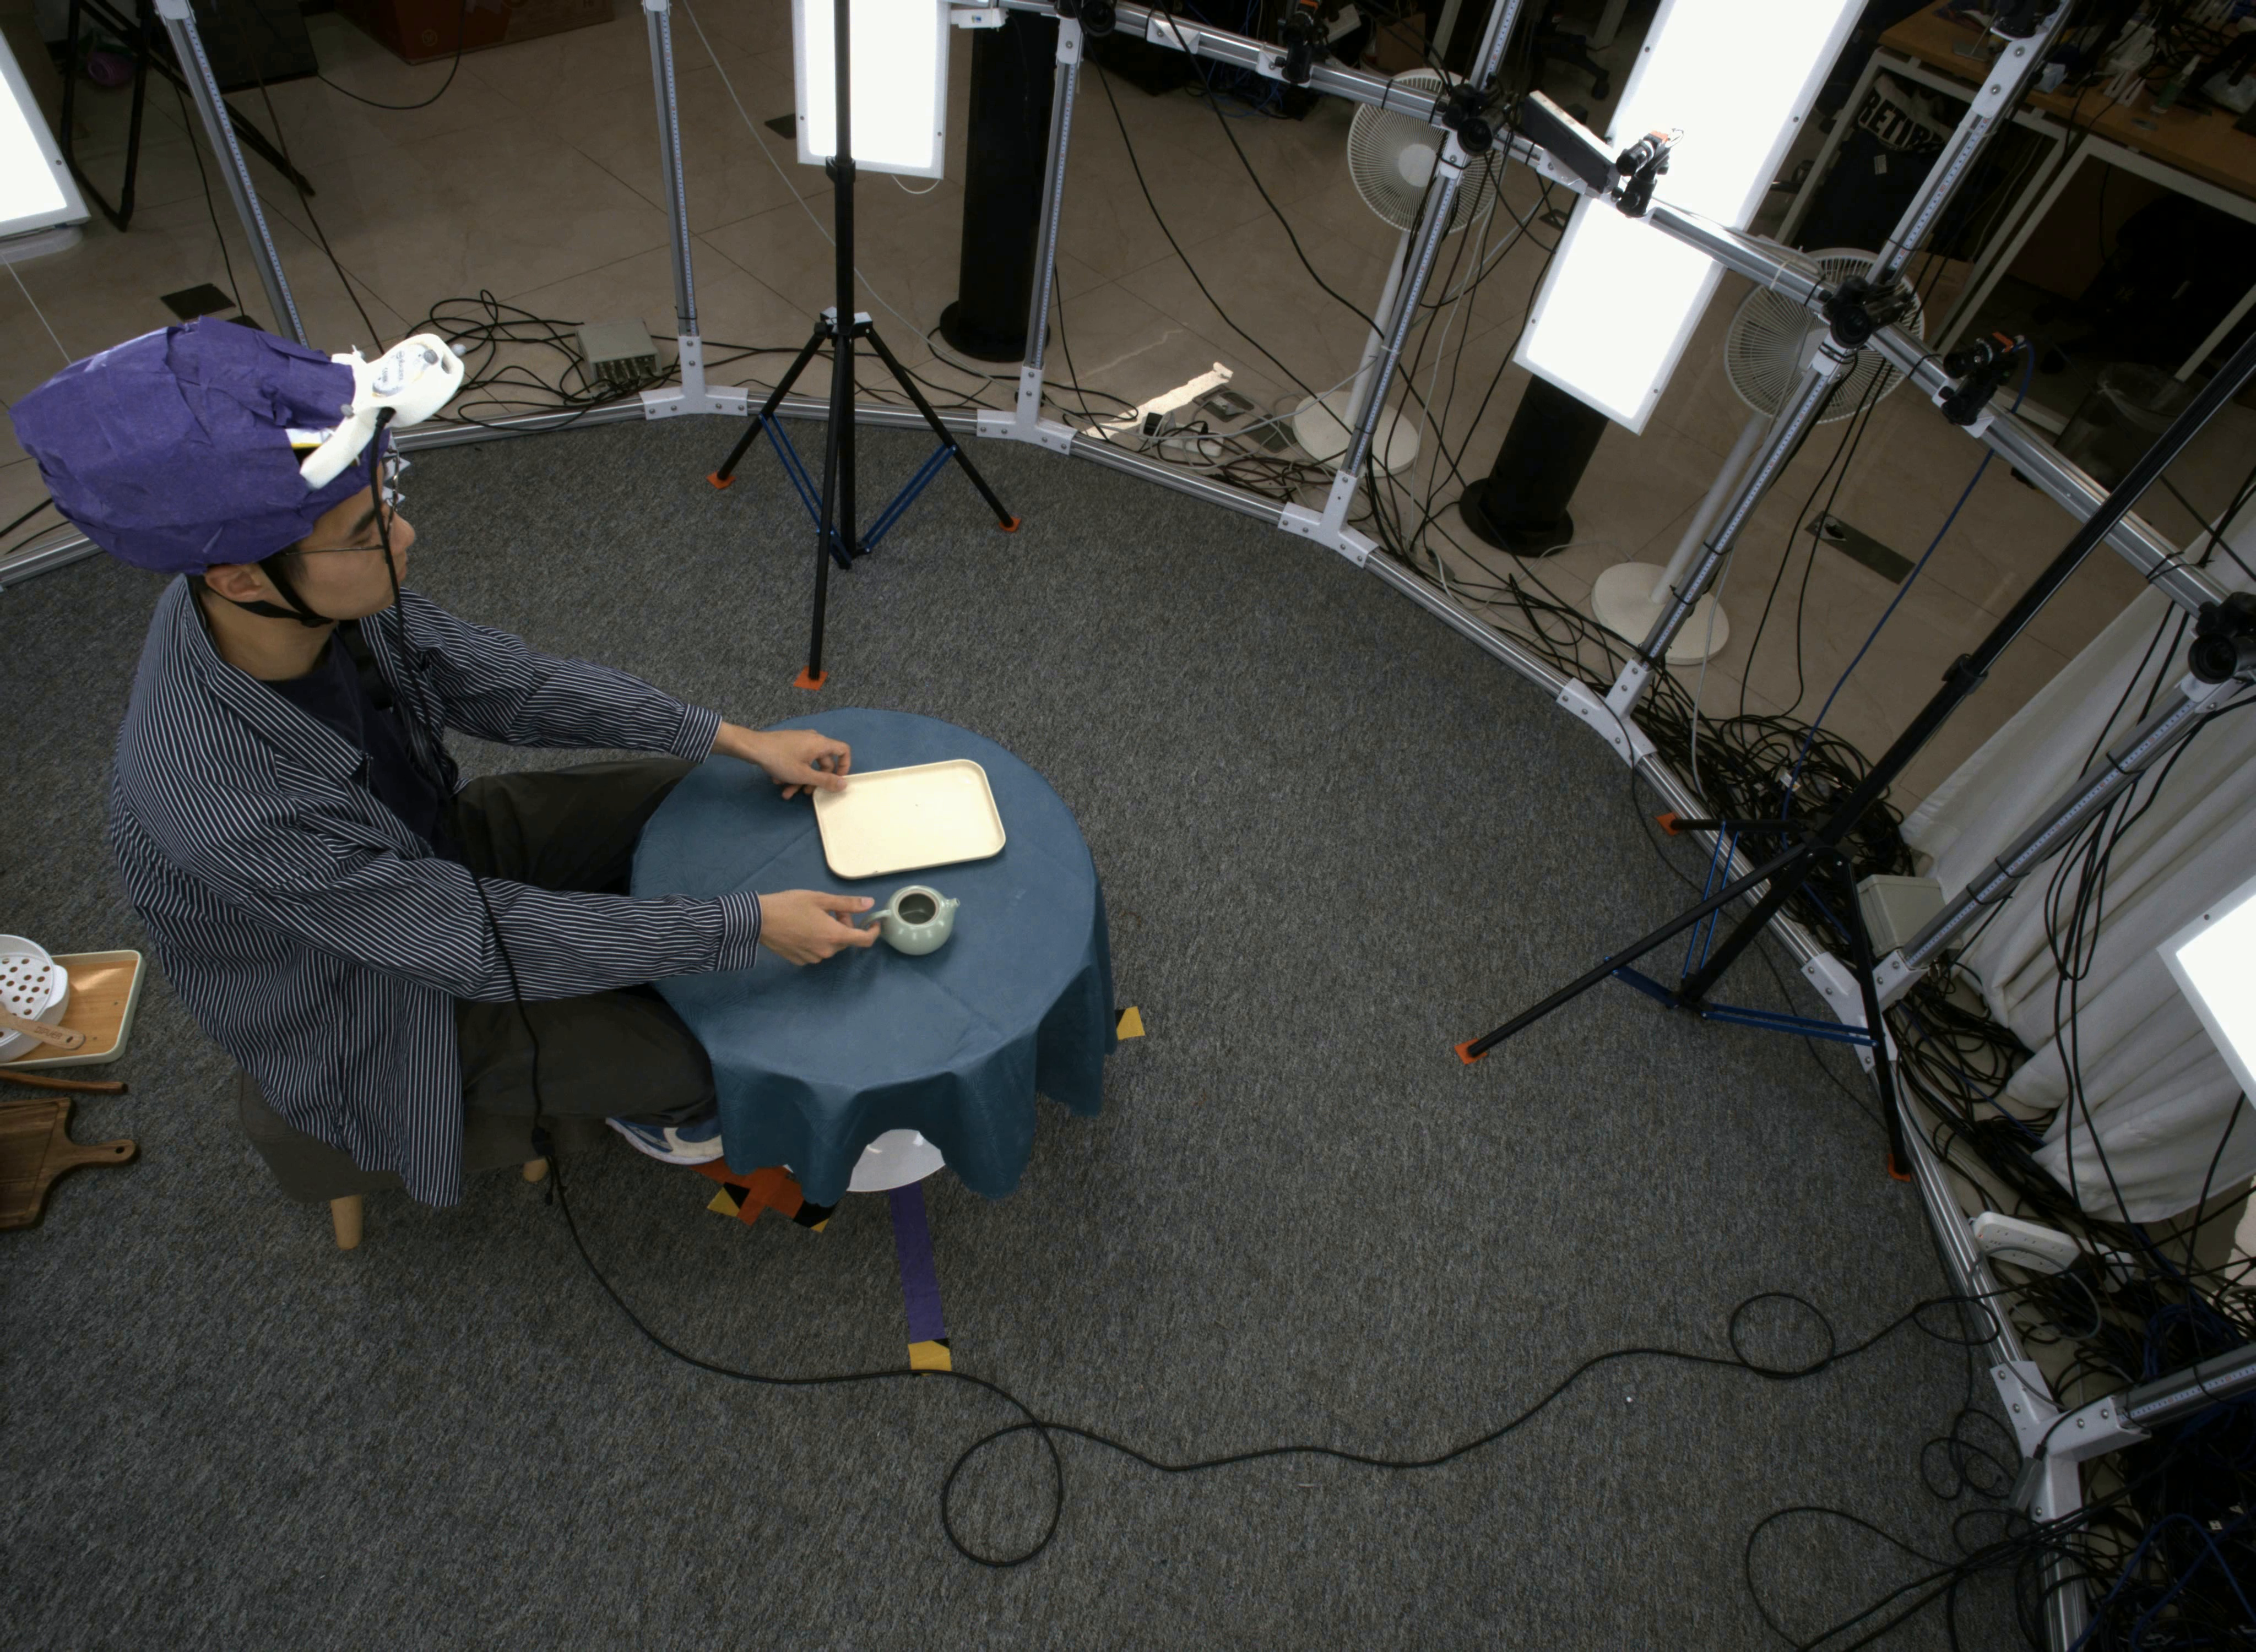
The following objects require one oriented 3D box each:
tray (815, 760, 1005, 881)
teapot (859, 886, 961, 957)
[{"bbox_3d":[-0.296,-0.009,1.767,0.240,0.018,0.167,-9,56,-19],"label":"tray"},{"bbox_3d":[-0.276,0.121,1.649,0.129,0.062,0.089,-5,56,-17],"label":"teapot"}]
